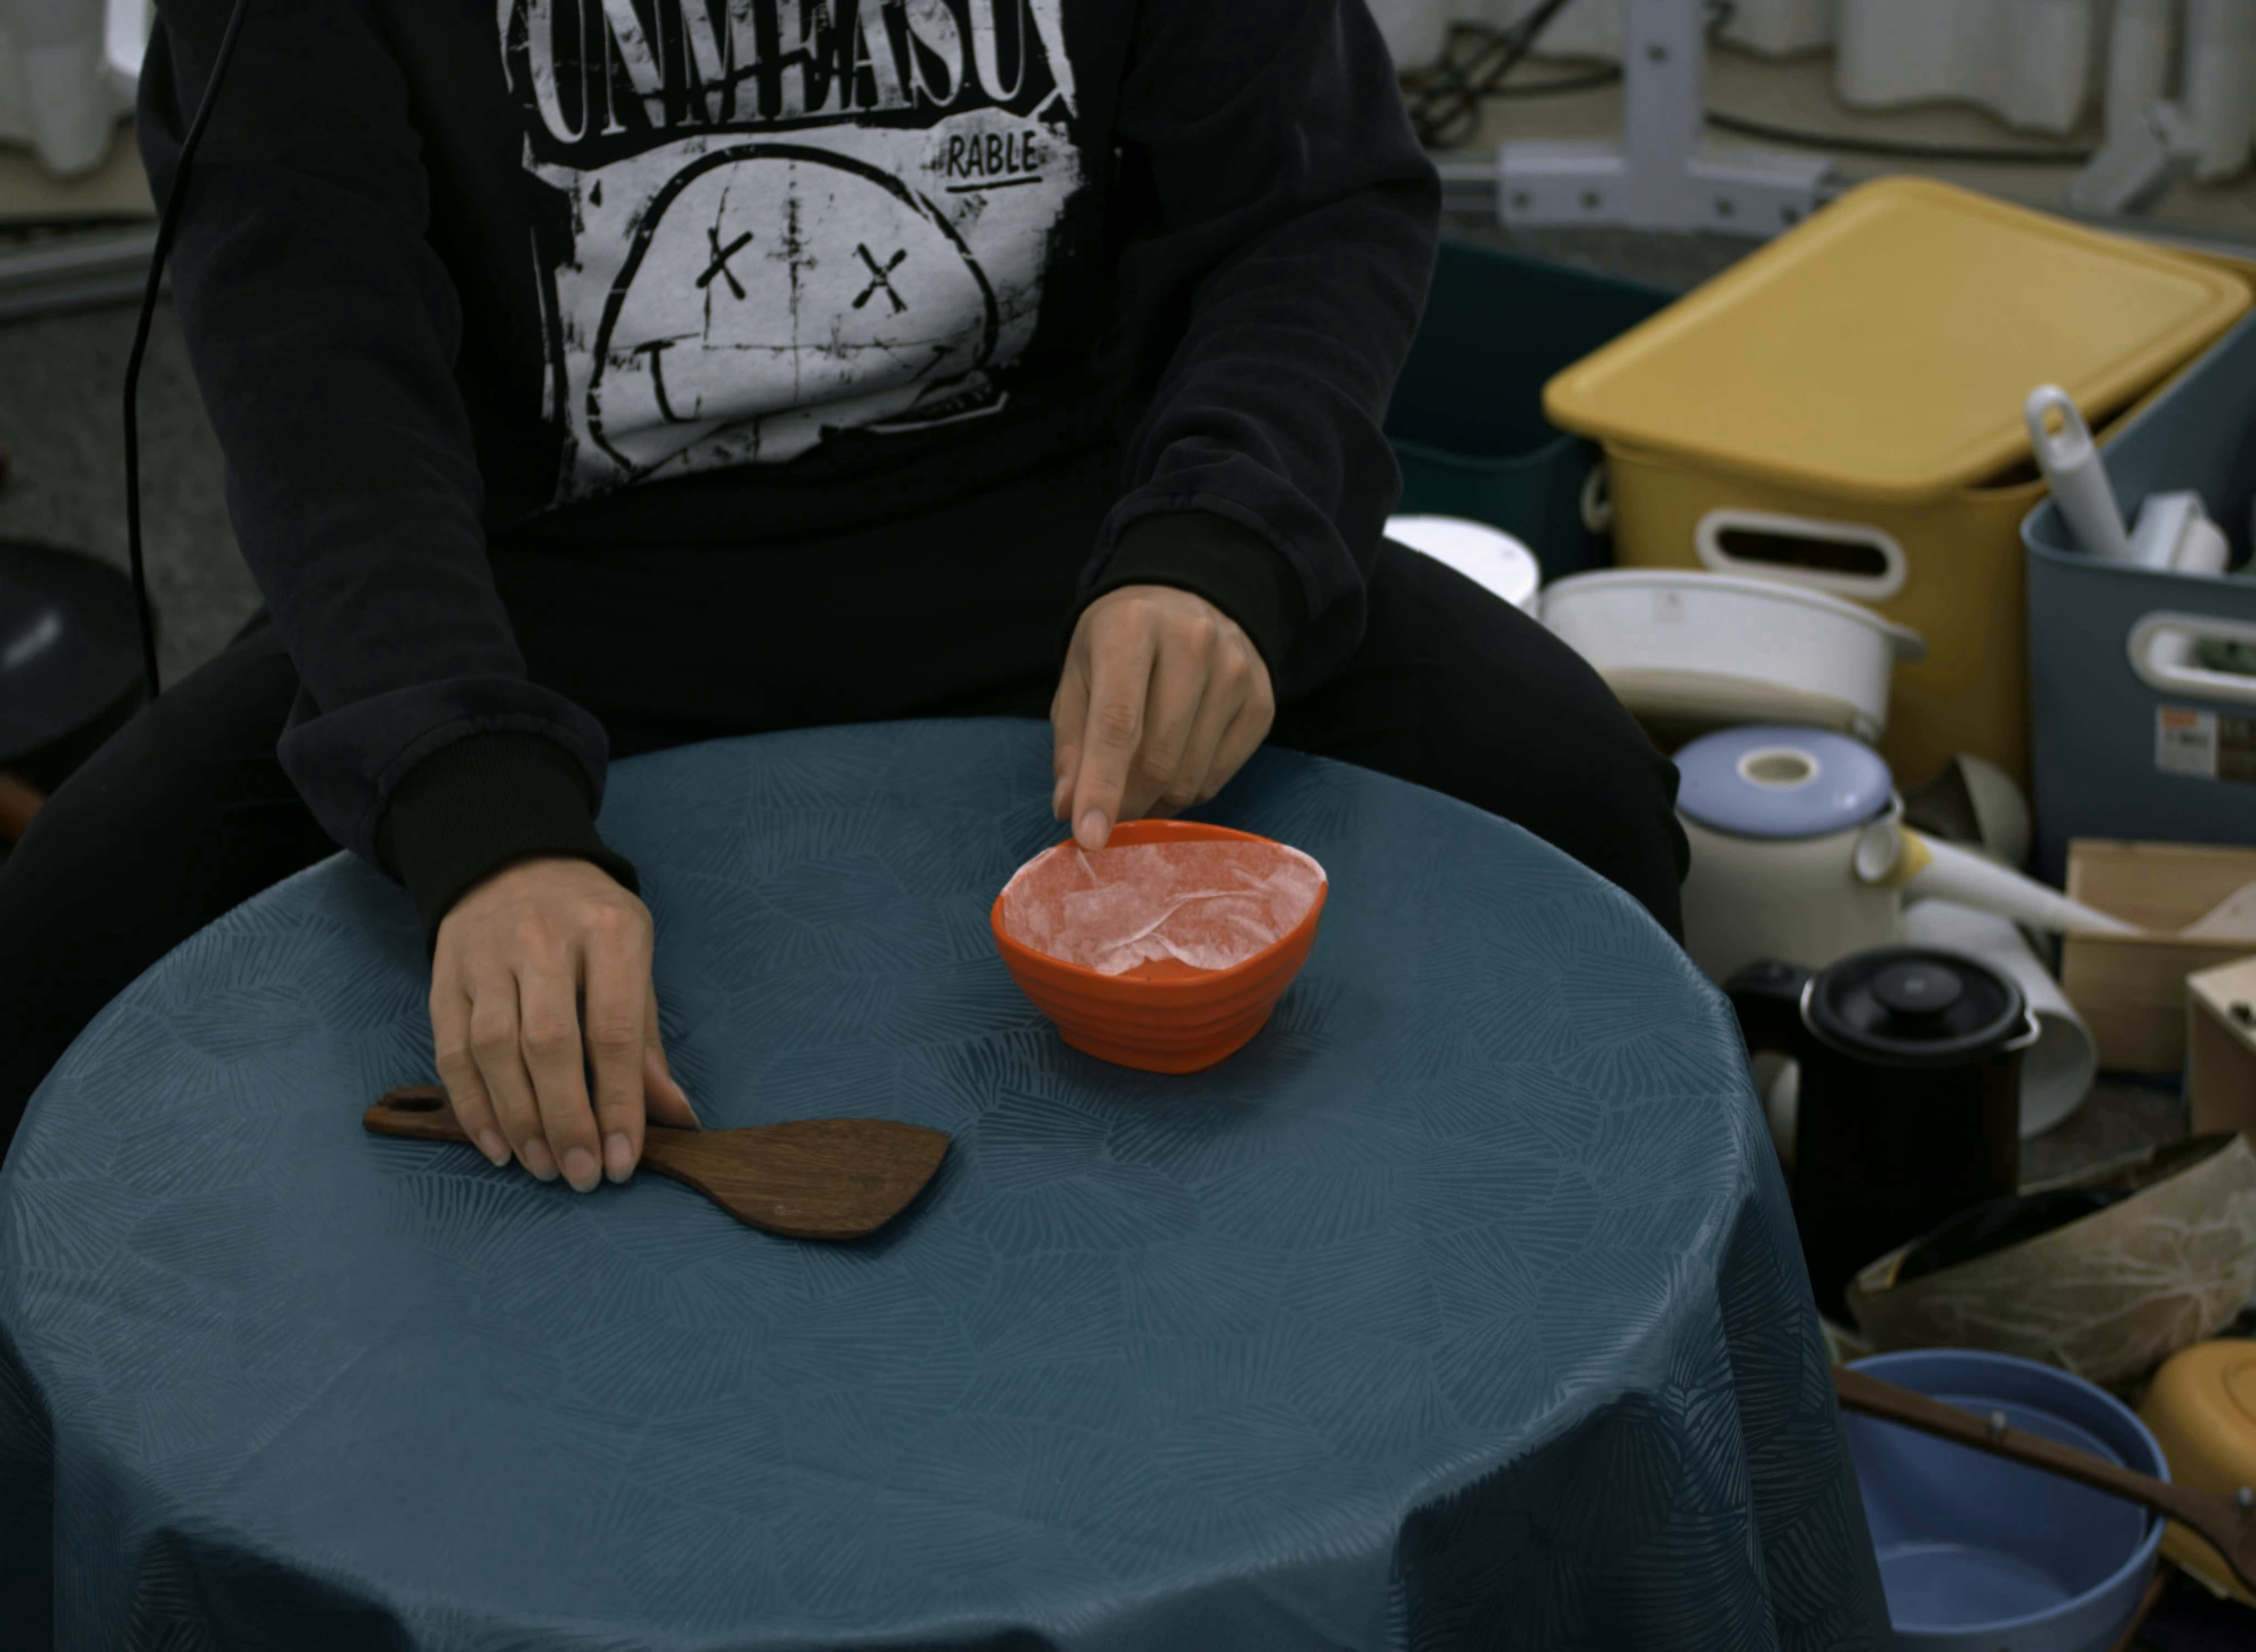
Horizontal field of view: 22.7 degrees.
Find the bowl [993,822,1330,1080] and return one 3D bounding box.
[{"bbox_3d":[0.013,0.048,1.951,0.118,0.051,0.121,-3,28,2],"label":"bowl"}]

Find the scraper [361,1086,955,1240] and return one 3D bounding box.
[{"bbox_3d":[-0.162,0.109,1.893,0.210,0.011,0.077,7,28,20],"label":"scraper"}]
